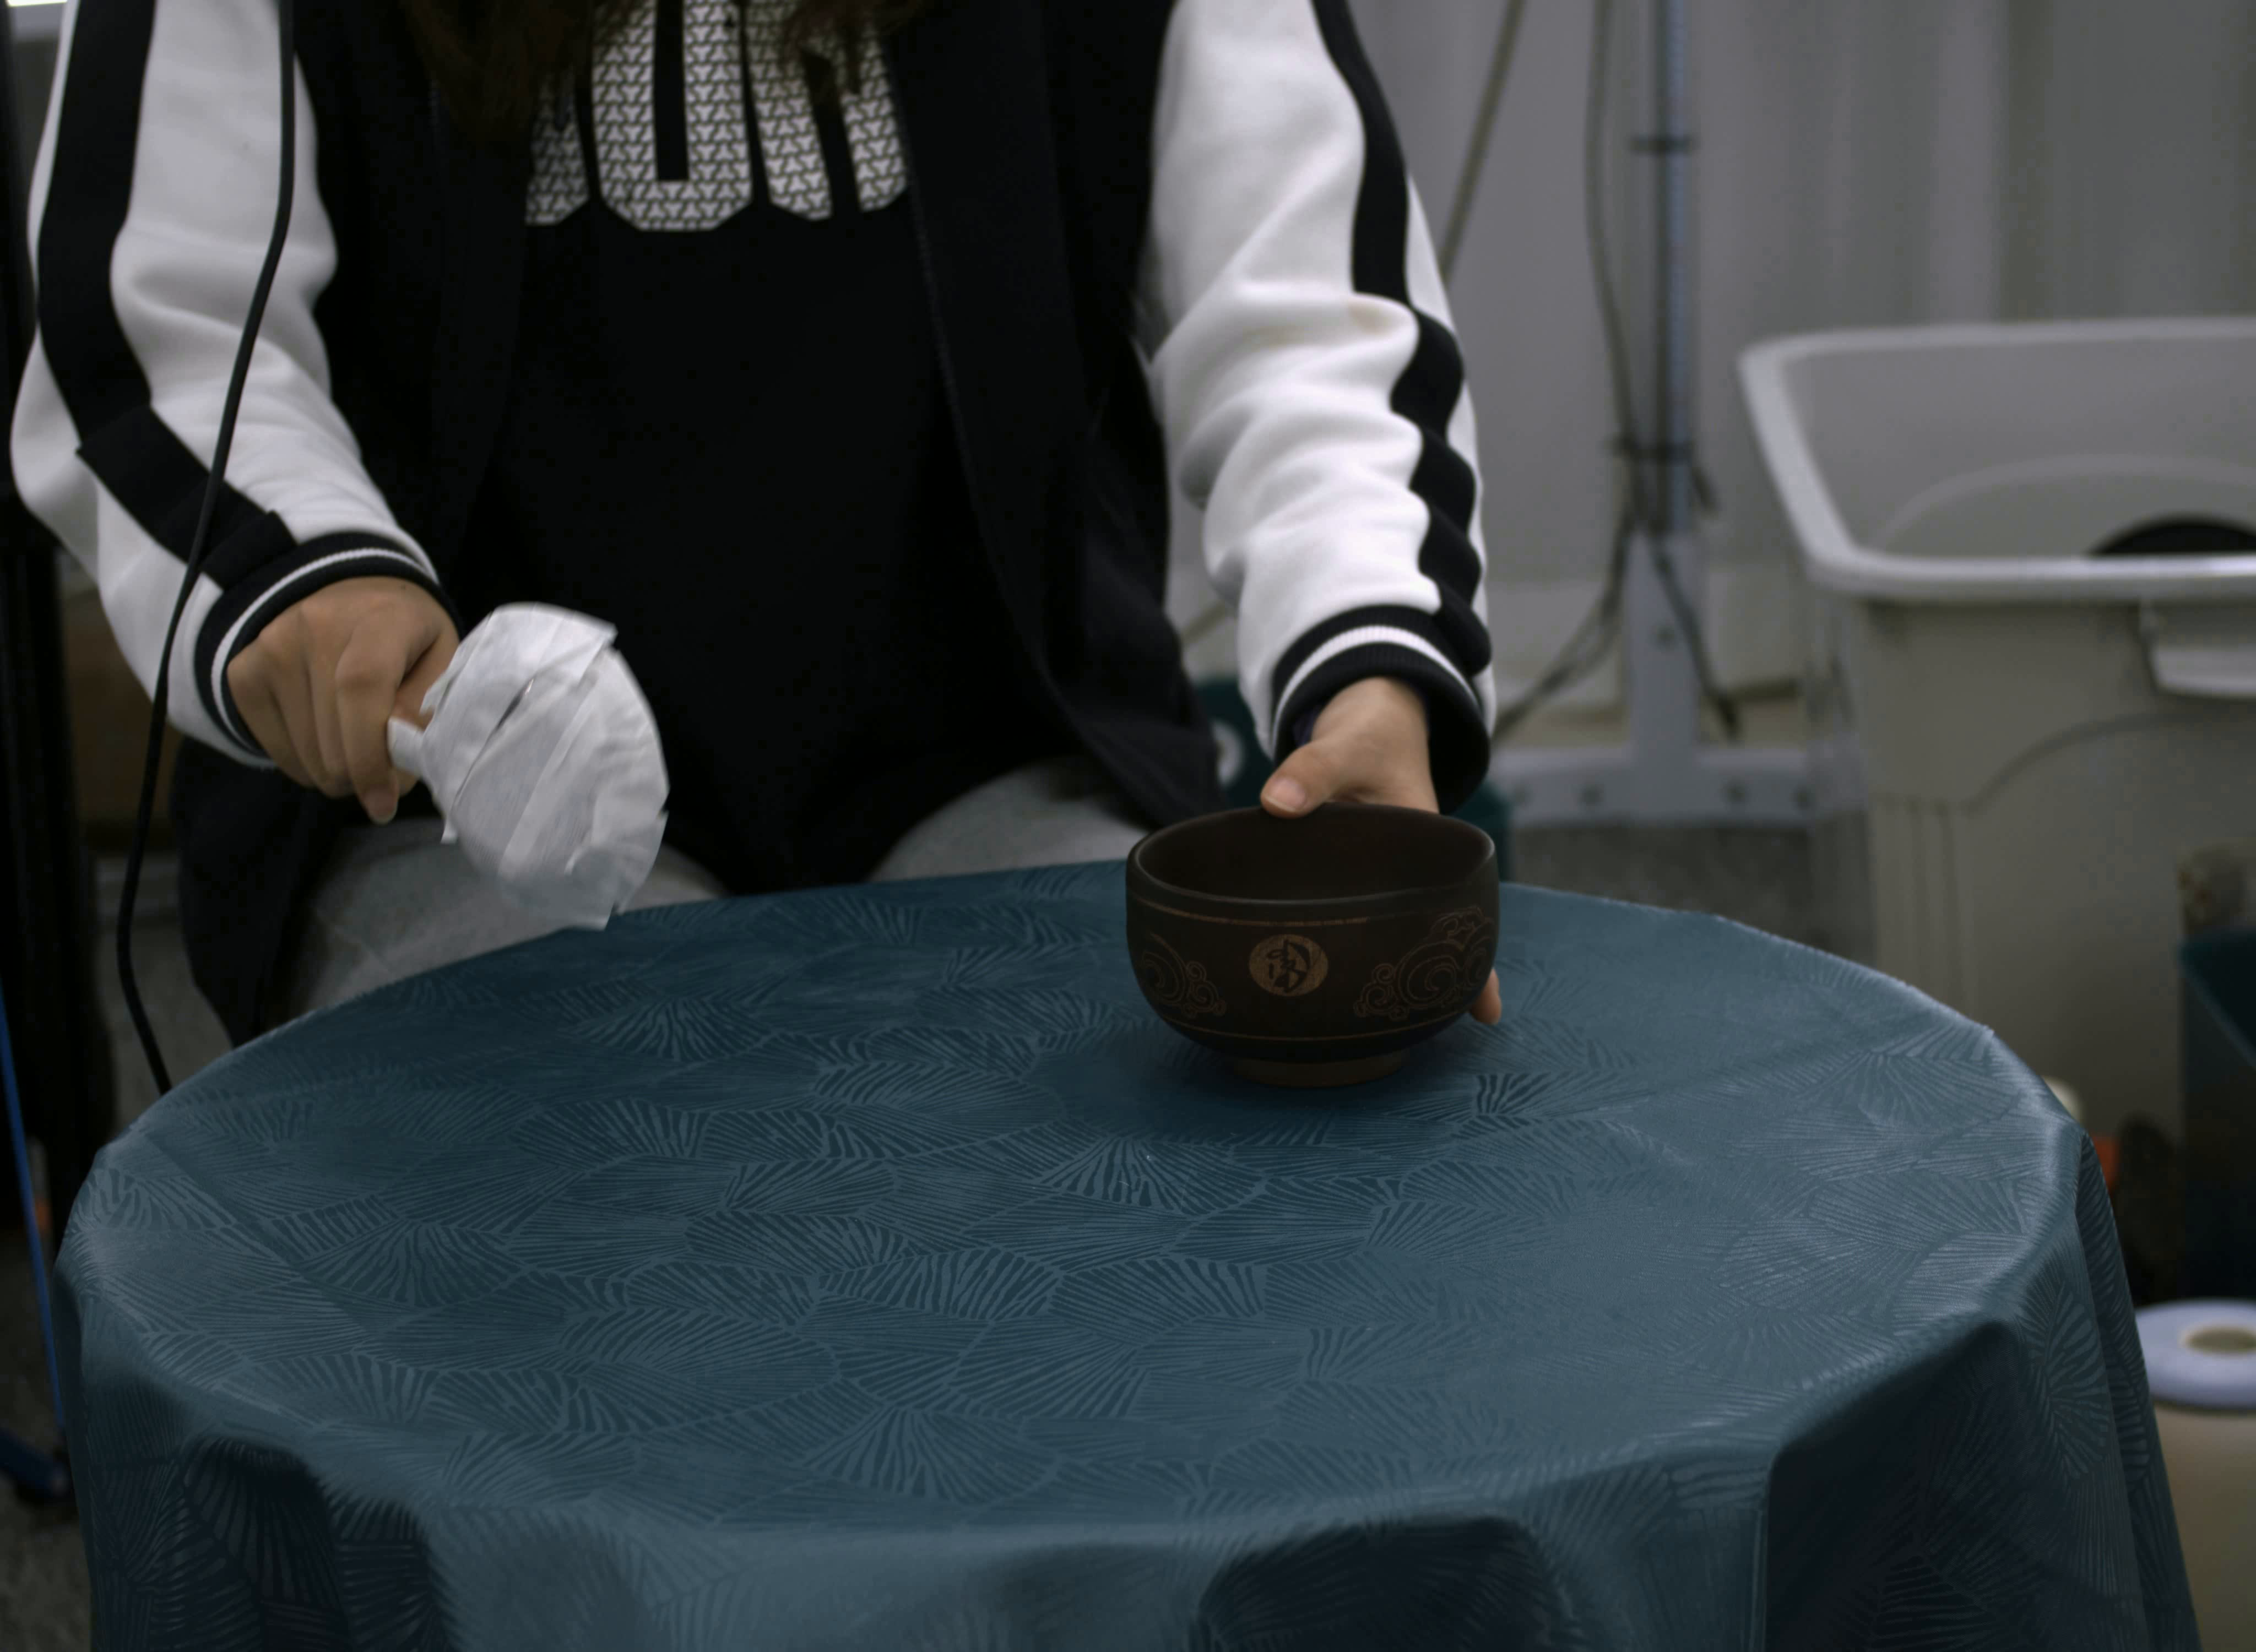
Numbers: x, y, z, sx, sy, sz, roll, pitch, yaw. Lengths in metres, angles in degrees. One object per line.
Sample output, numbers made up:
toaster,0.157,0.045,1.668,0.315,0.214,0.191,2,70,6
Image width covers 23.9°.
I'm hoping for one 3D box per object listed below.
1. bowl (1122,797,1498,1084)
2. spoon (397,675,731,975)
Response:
bowl,0.057,0.039,1.657,0.117,0.070,0.118,-2,15,-1
spoon,-0.177,-0.012,1.640,0.059,0.100,0.281,-26,14,-10
